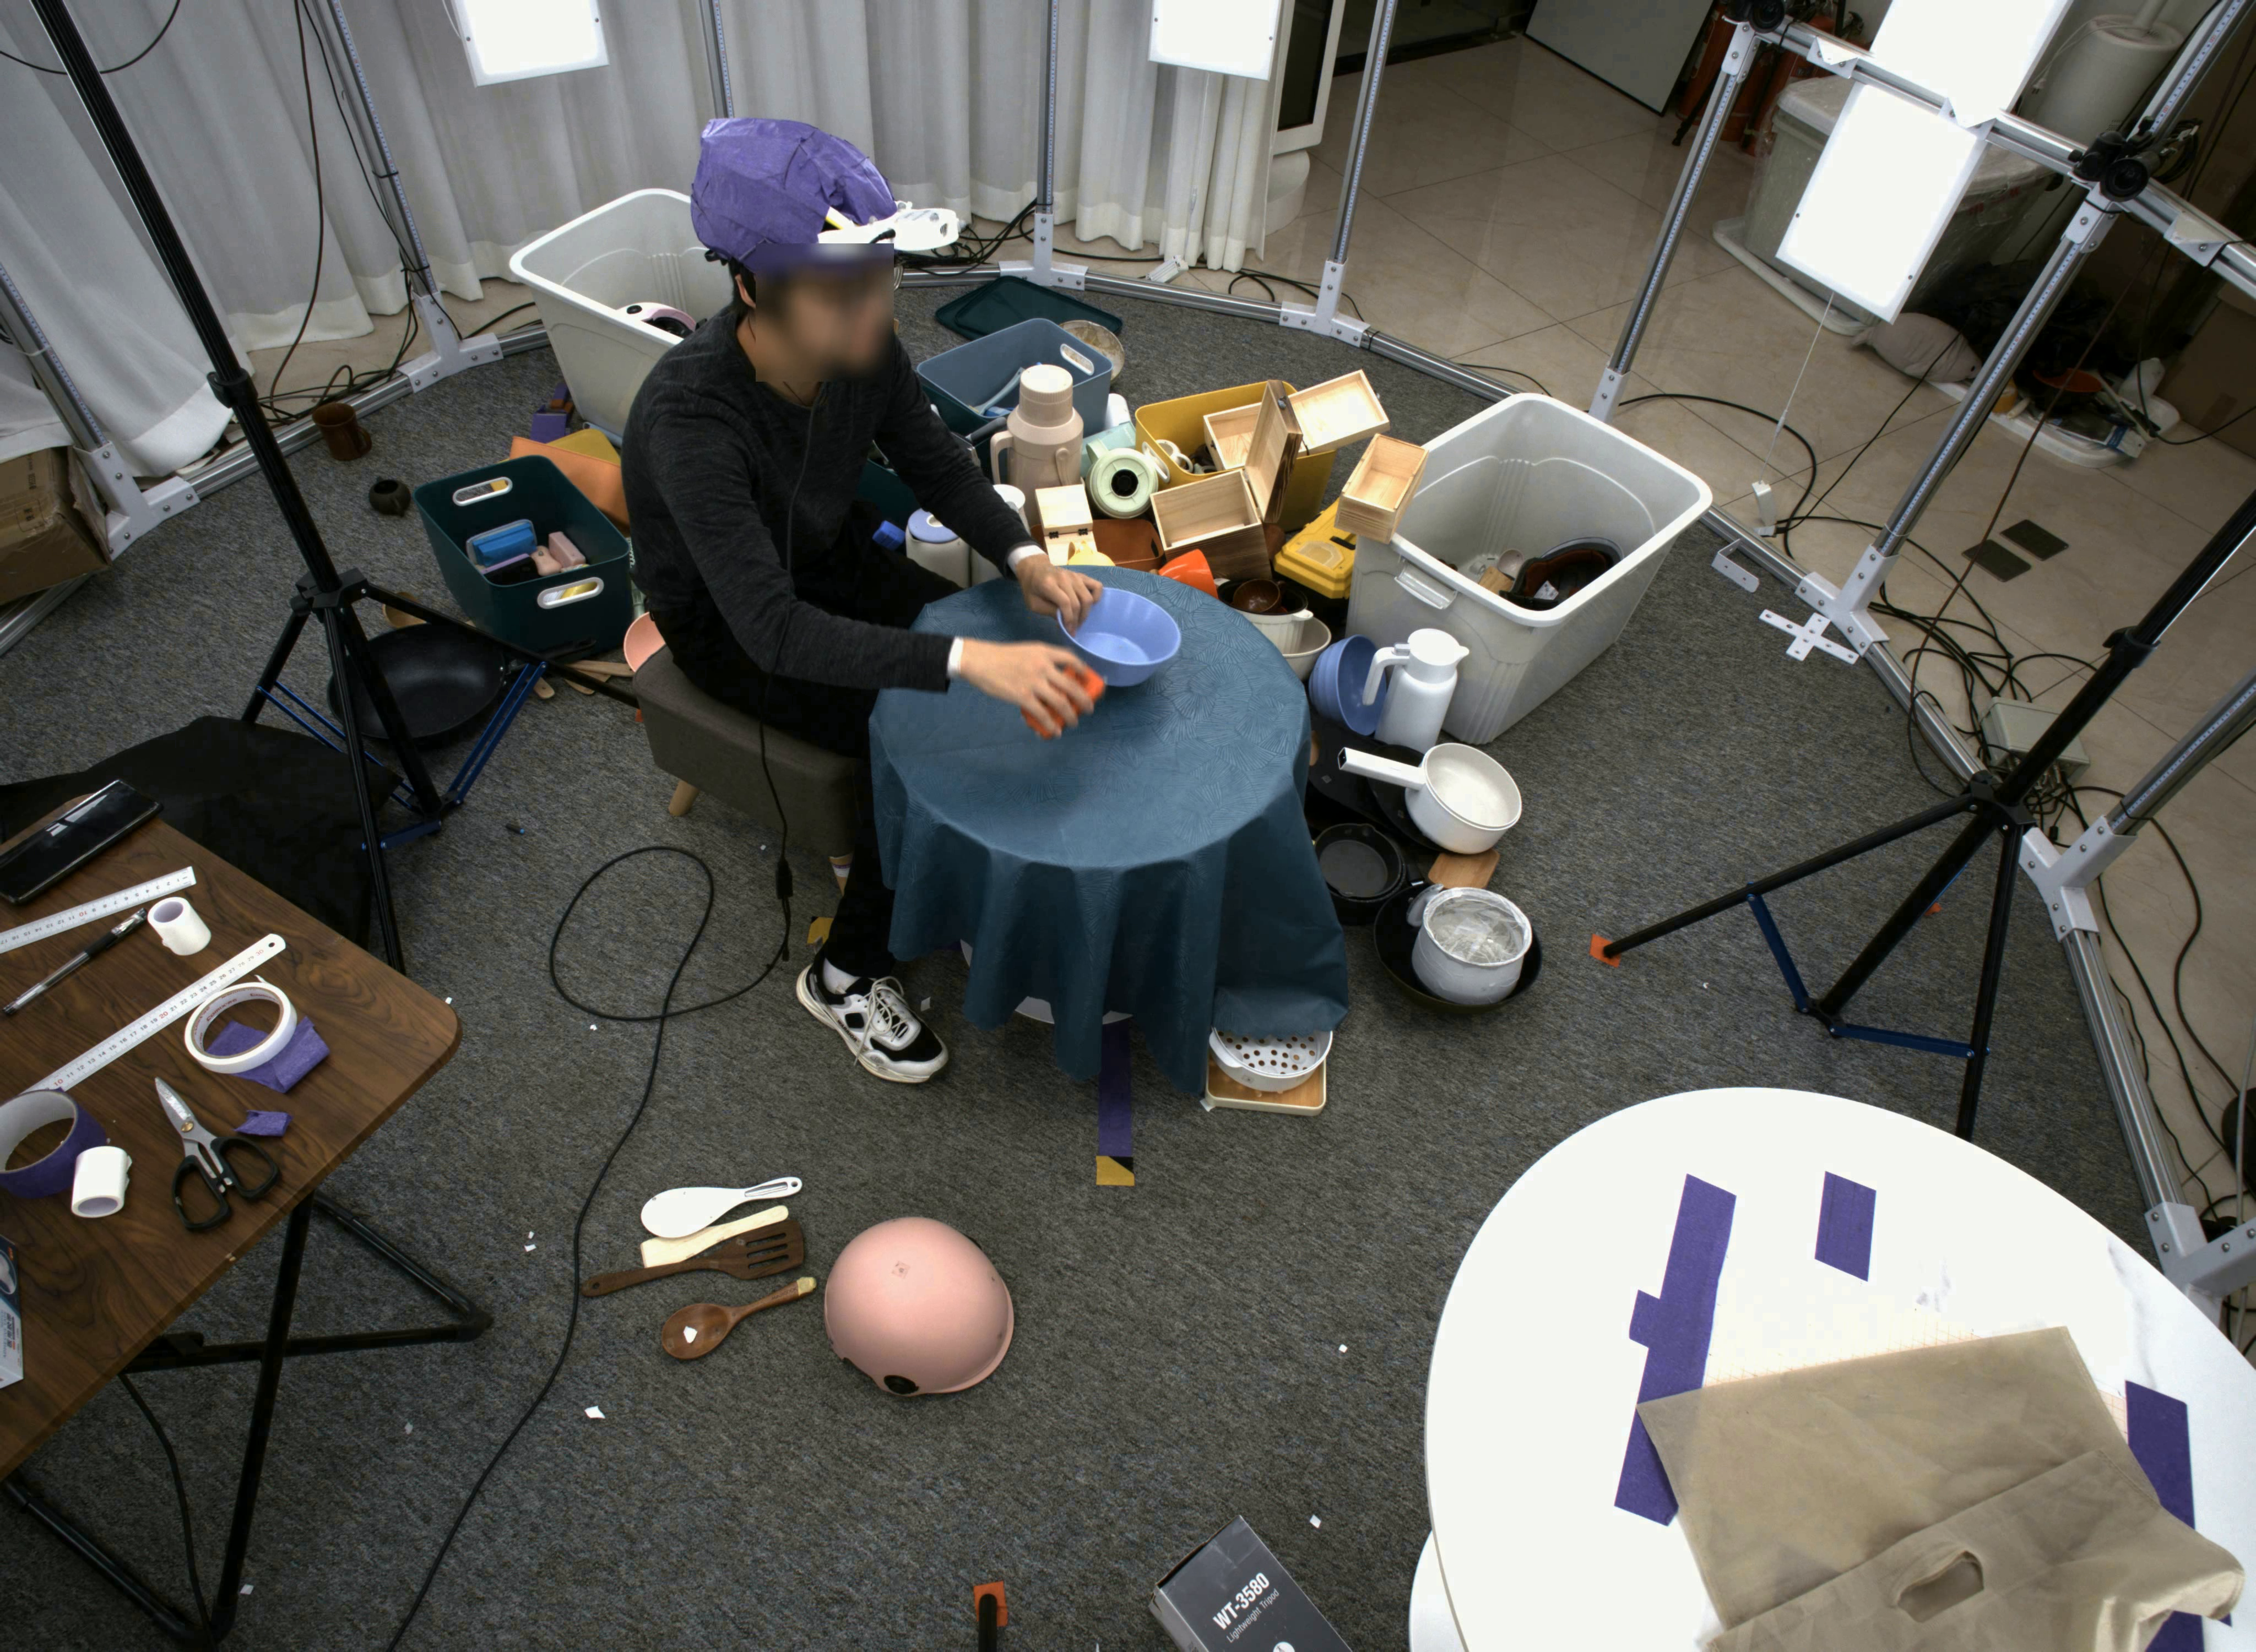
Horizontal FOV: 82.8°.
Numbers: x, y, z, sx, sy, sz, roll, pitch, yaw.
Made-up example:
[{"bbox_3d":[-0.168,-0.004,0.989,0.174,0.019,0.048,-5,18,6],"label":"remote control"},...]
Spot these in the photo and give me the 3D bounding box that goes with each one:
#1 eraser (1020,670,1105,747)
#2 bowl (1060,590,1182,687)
[{"bbox_3d":[-0.086,-0.154,1.686,0.108,0.022,0.060,-39,66,-15],"label":"eraser"},{"bbox_3d":[-0.016,-0.257,1.815,0.175,0.069,0.180,9,42,-9],"label":"bowl"}]
